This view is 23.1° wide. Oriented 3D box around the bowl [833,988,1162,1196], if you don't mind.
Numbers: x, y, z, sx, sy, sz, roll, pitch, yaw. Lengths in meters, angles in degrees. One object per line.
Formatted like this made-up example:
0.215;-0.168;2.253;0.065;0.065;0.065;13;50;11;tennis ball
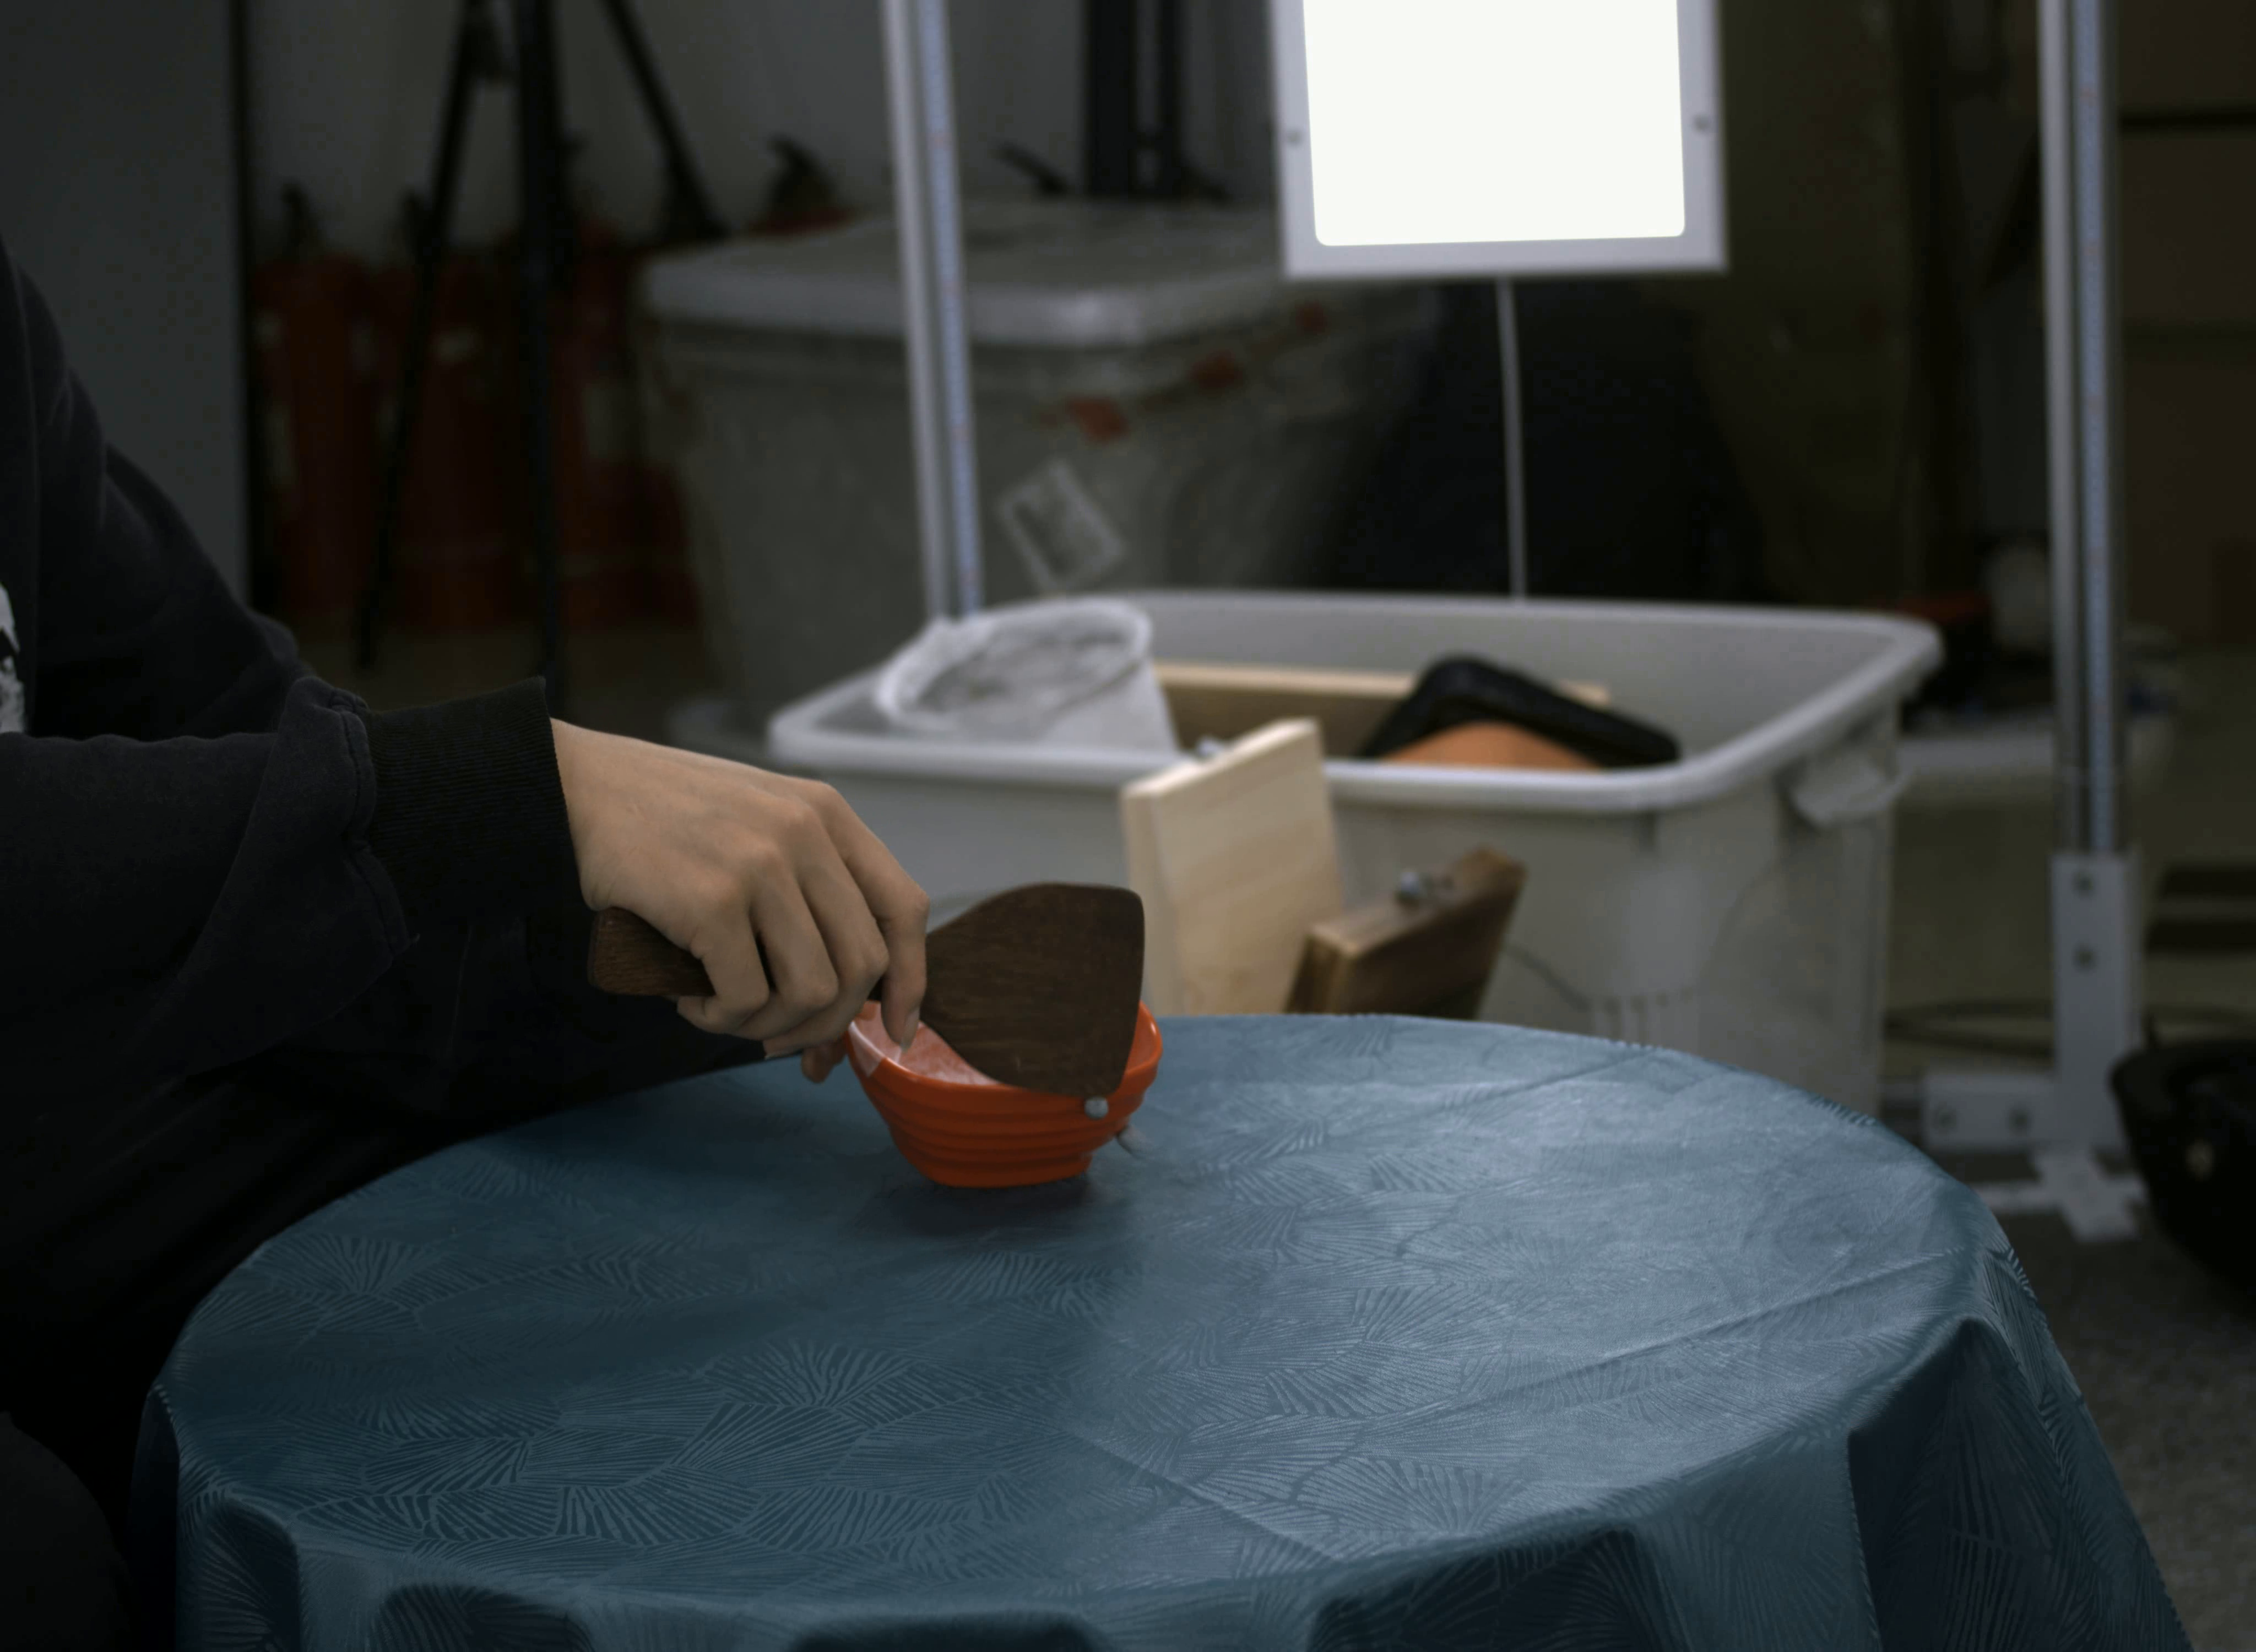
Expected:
-0.048;0.090;1.924;0.118;0.052;0.118;4;26;-3;bowl

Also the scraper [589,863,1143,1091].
-0.084;0.044;1.803;0.206;0.076;0.011;5;5;-33;scraper
